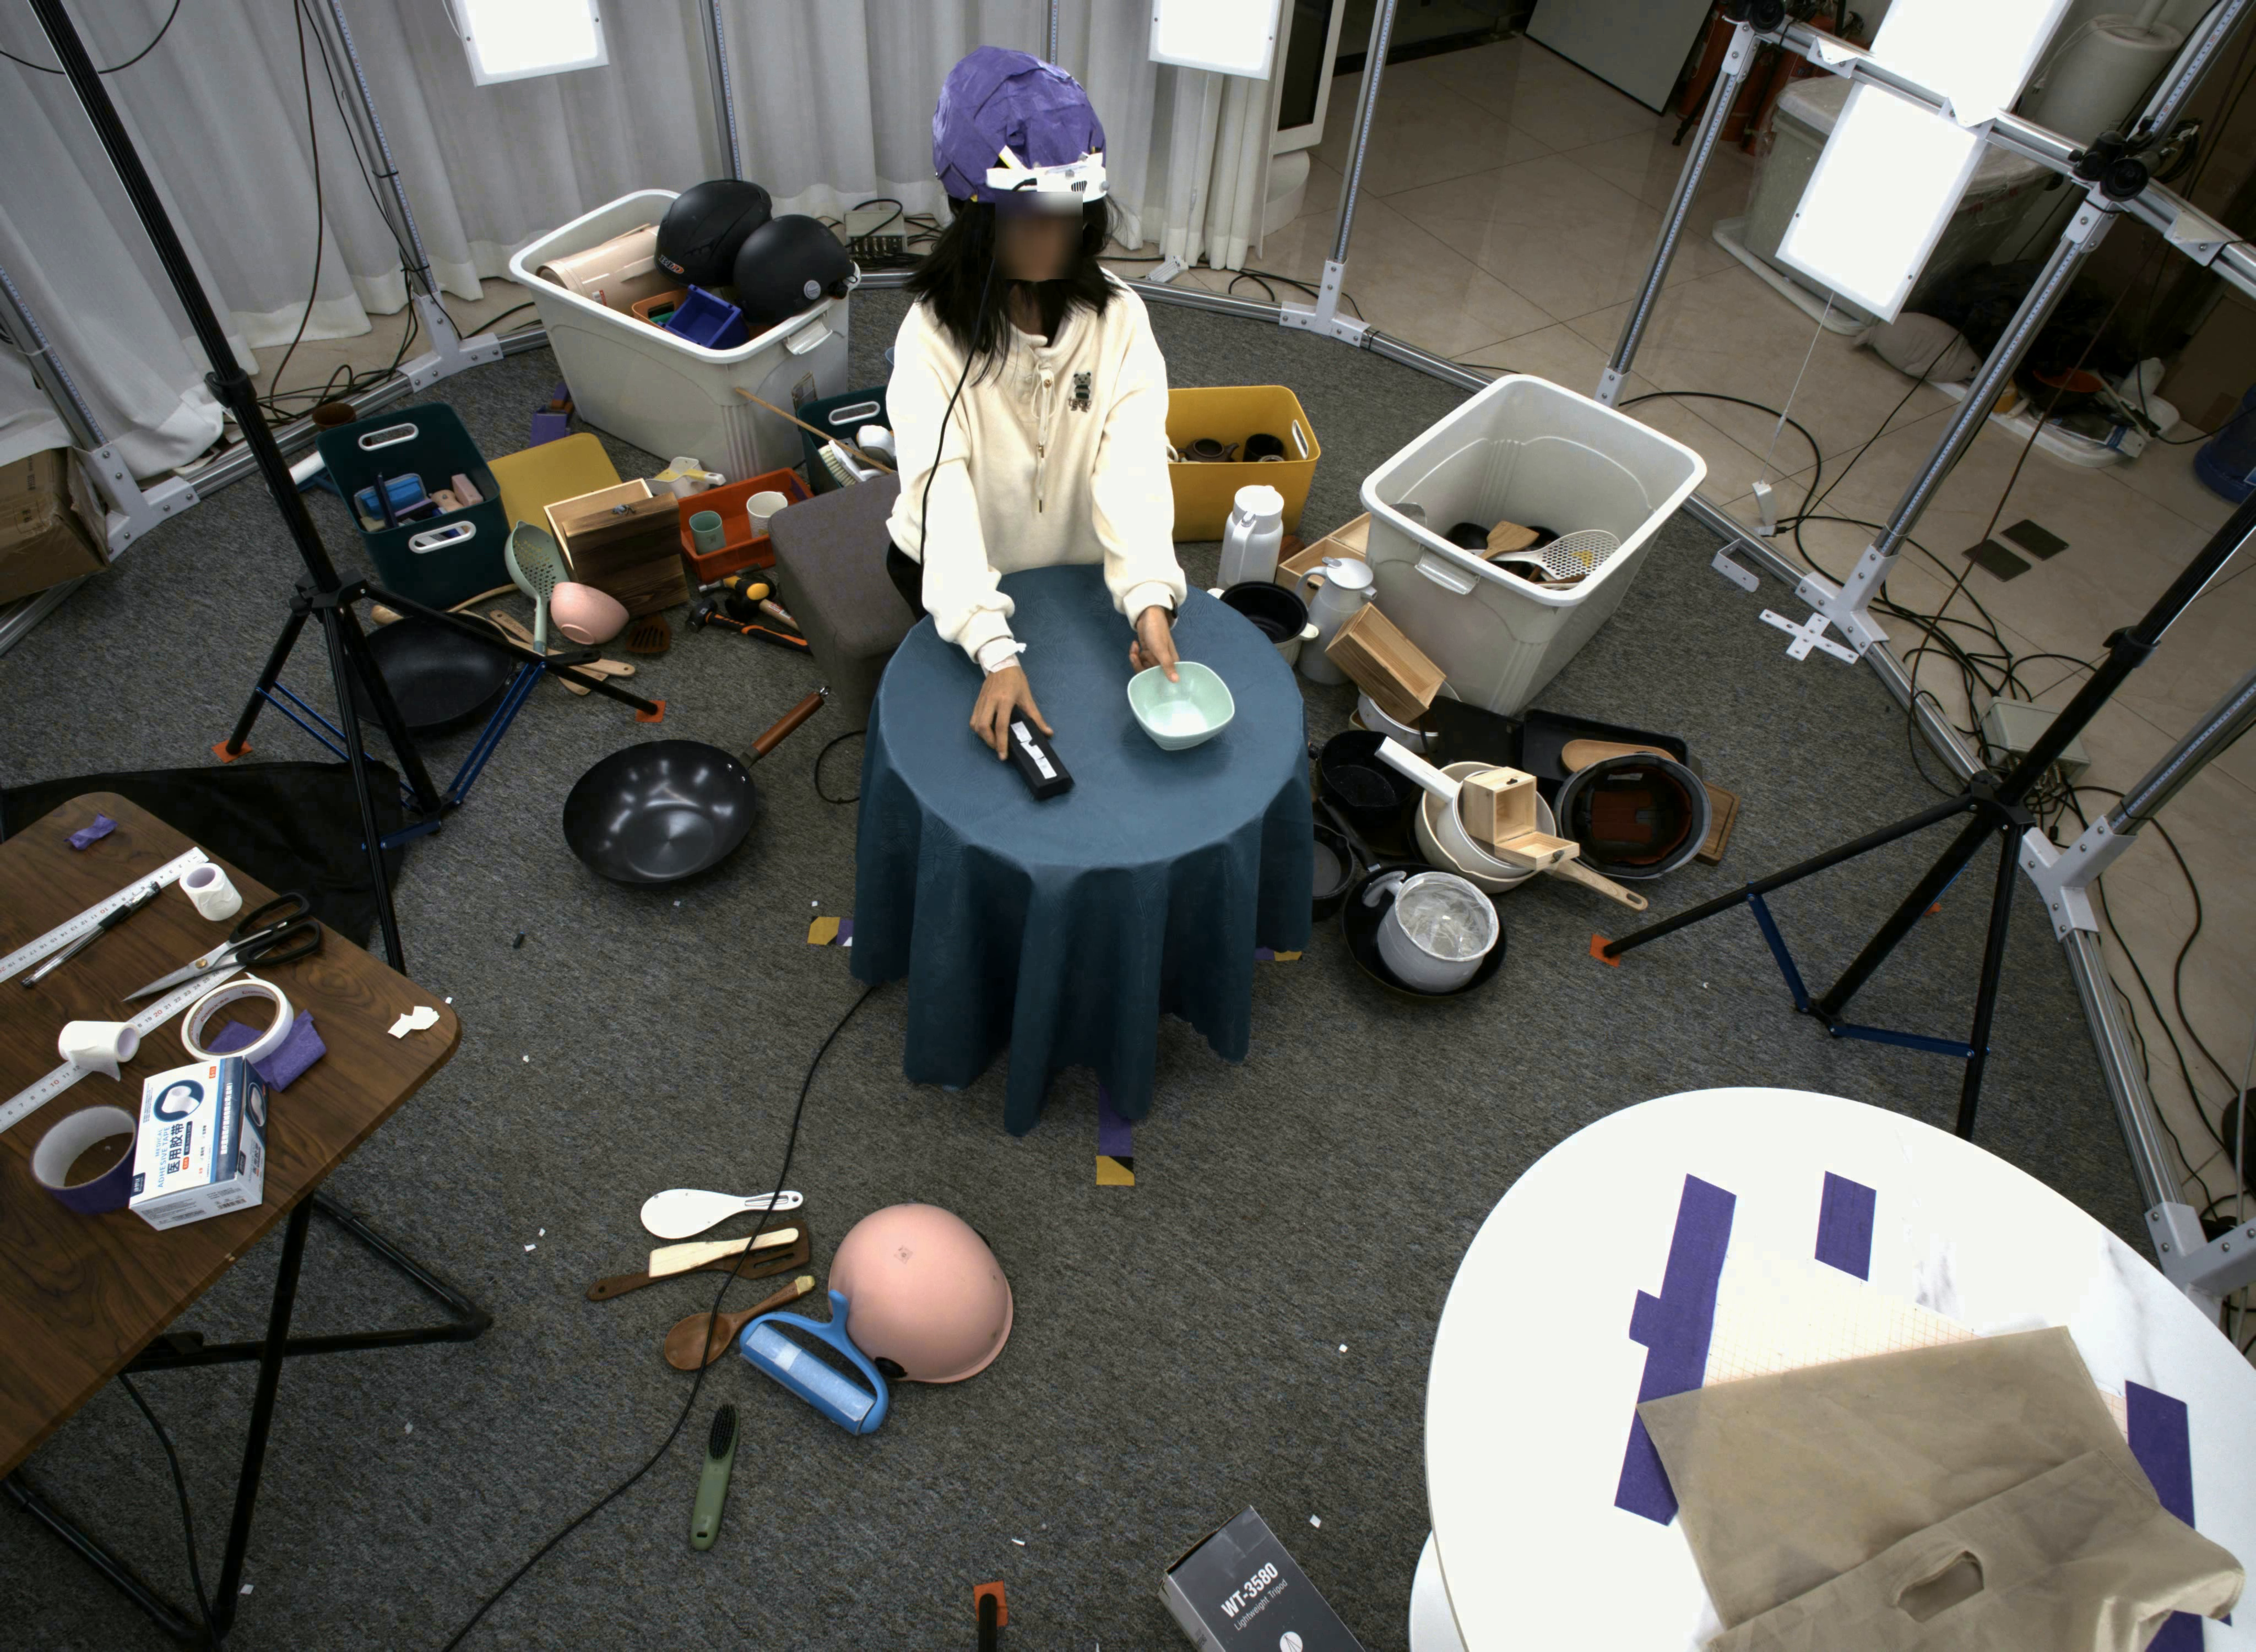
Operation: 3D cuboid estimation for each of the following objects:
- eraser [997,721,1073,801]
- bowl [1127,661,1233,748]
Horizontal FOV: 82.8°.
[{"bbox_3d":[-0.126,-0.088,1.721,0.053,0.030,0.128,-20,51,-22],"label":"eraser"},{"bbox_3d":[0.068,-0.159,1.775,0.151,0.057,0.155,4,49,-5],"label":"bowl"}]
